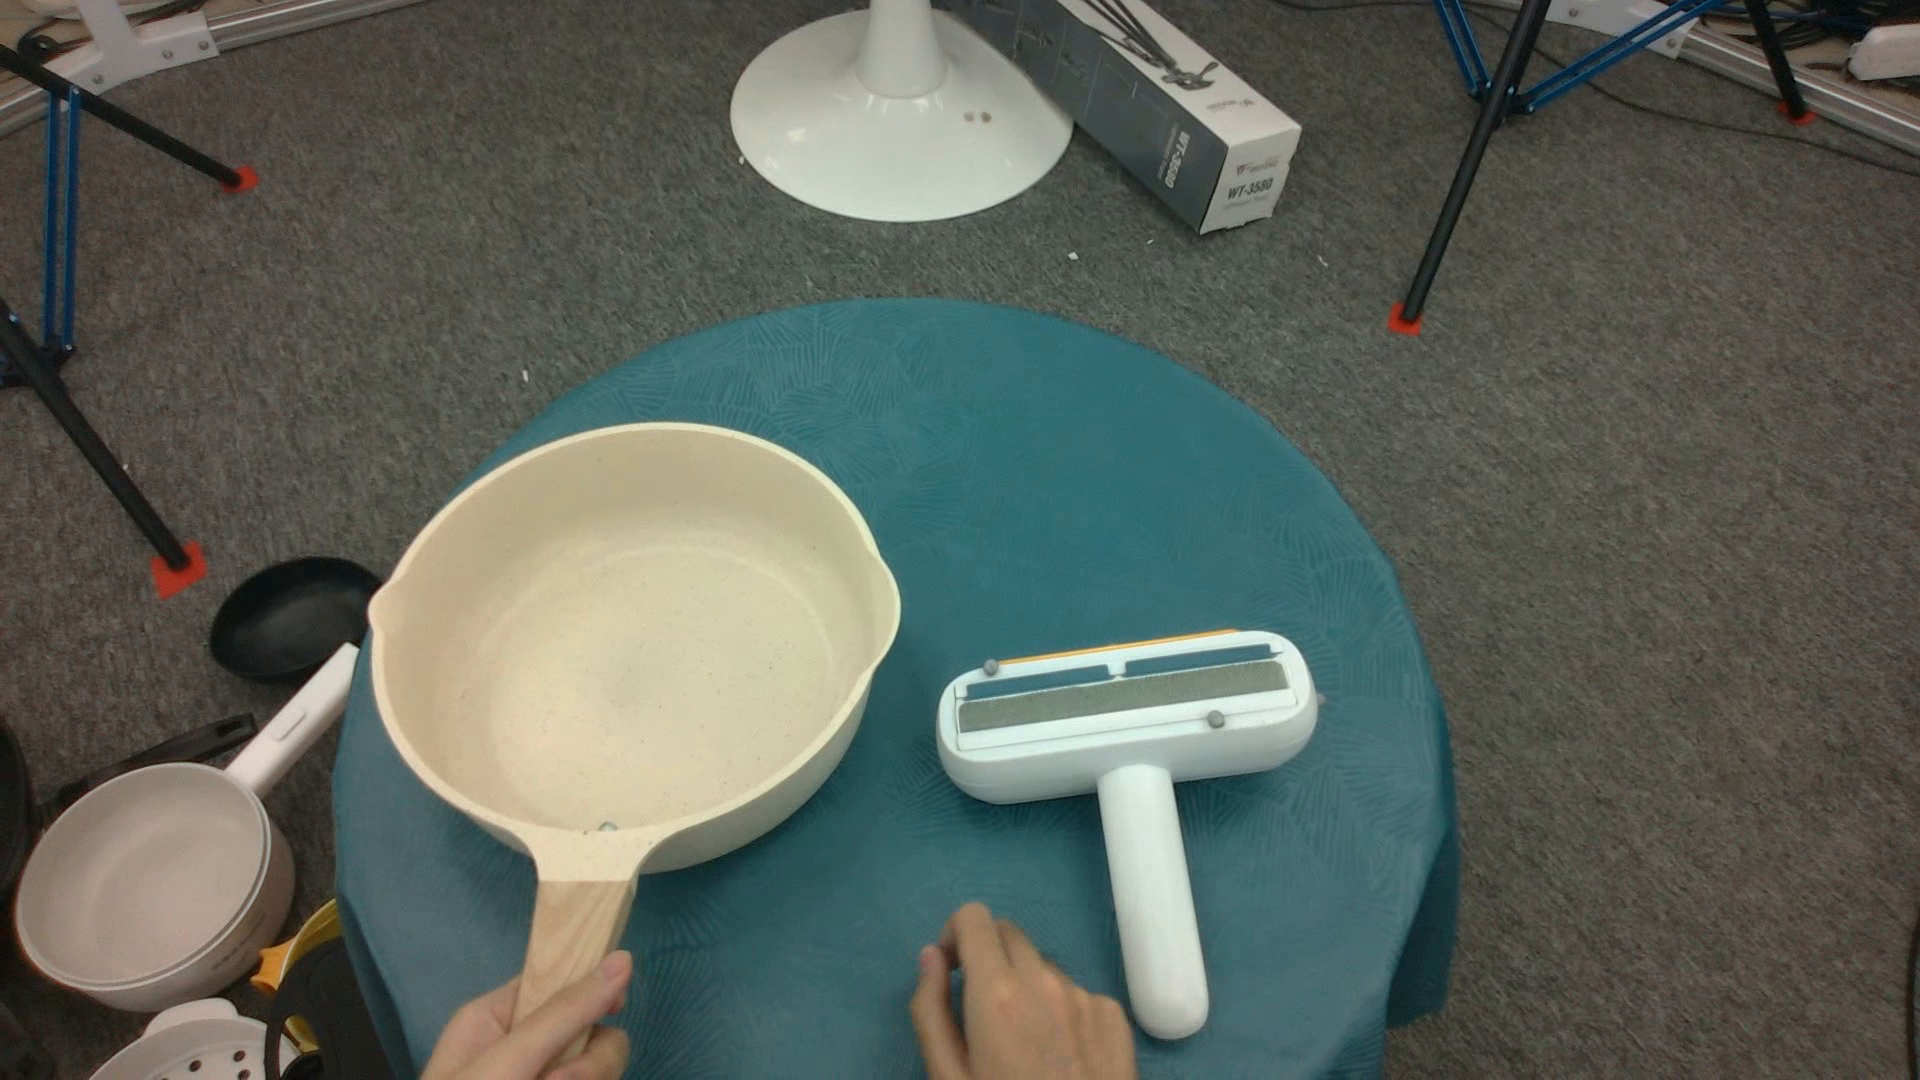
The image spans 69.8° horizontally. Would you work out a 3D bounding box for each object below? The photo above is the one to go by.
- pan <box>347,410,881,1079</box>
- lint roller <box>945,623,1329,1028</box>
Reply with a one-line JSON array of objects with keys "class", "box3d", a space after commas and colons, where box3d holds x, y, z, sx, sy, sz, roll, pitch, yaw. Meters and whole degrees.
[{"class": "pan", "box3d": [-0.171, 0.121, 0.656, 0.263, 0.101, 0.437, 1, 53, -3]}, {"class": "lint roller", "box3d": [0.090, 0.136, 0.677, 0.193, 0.074, 0.193, -3, 55, 2]}]
